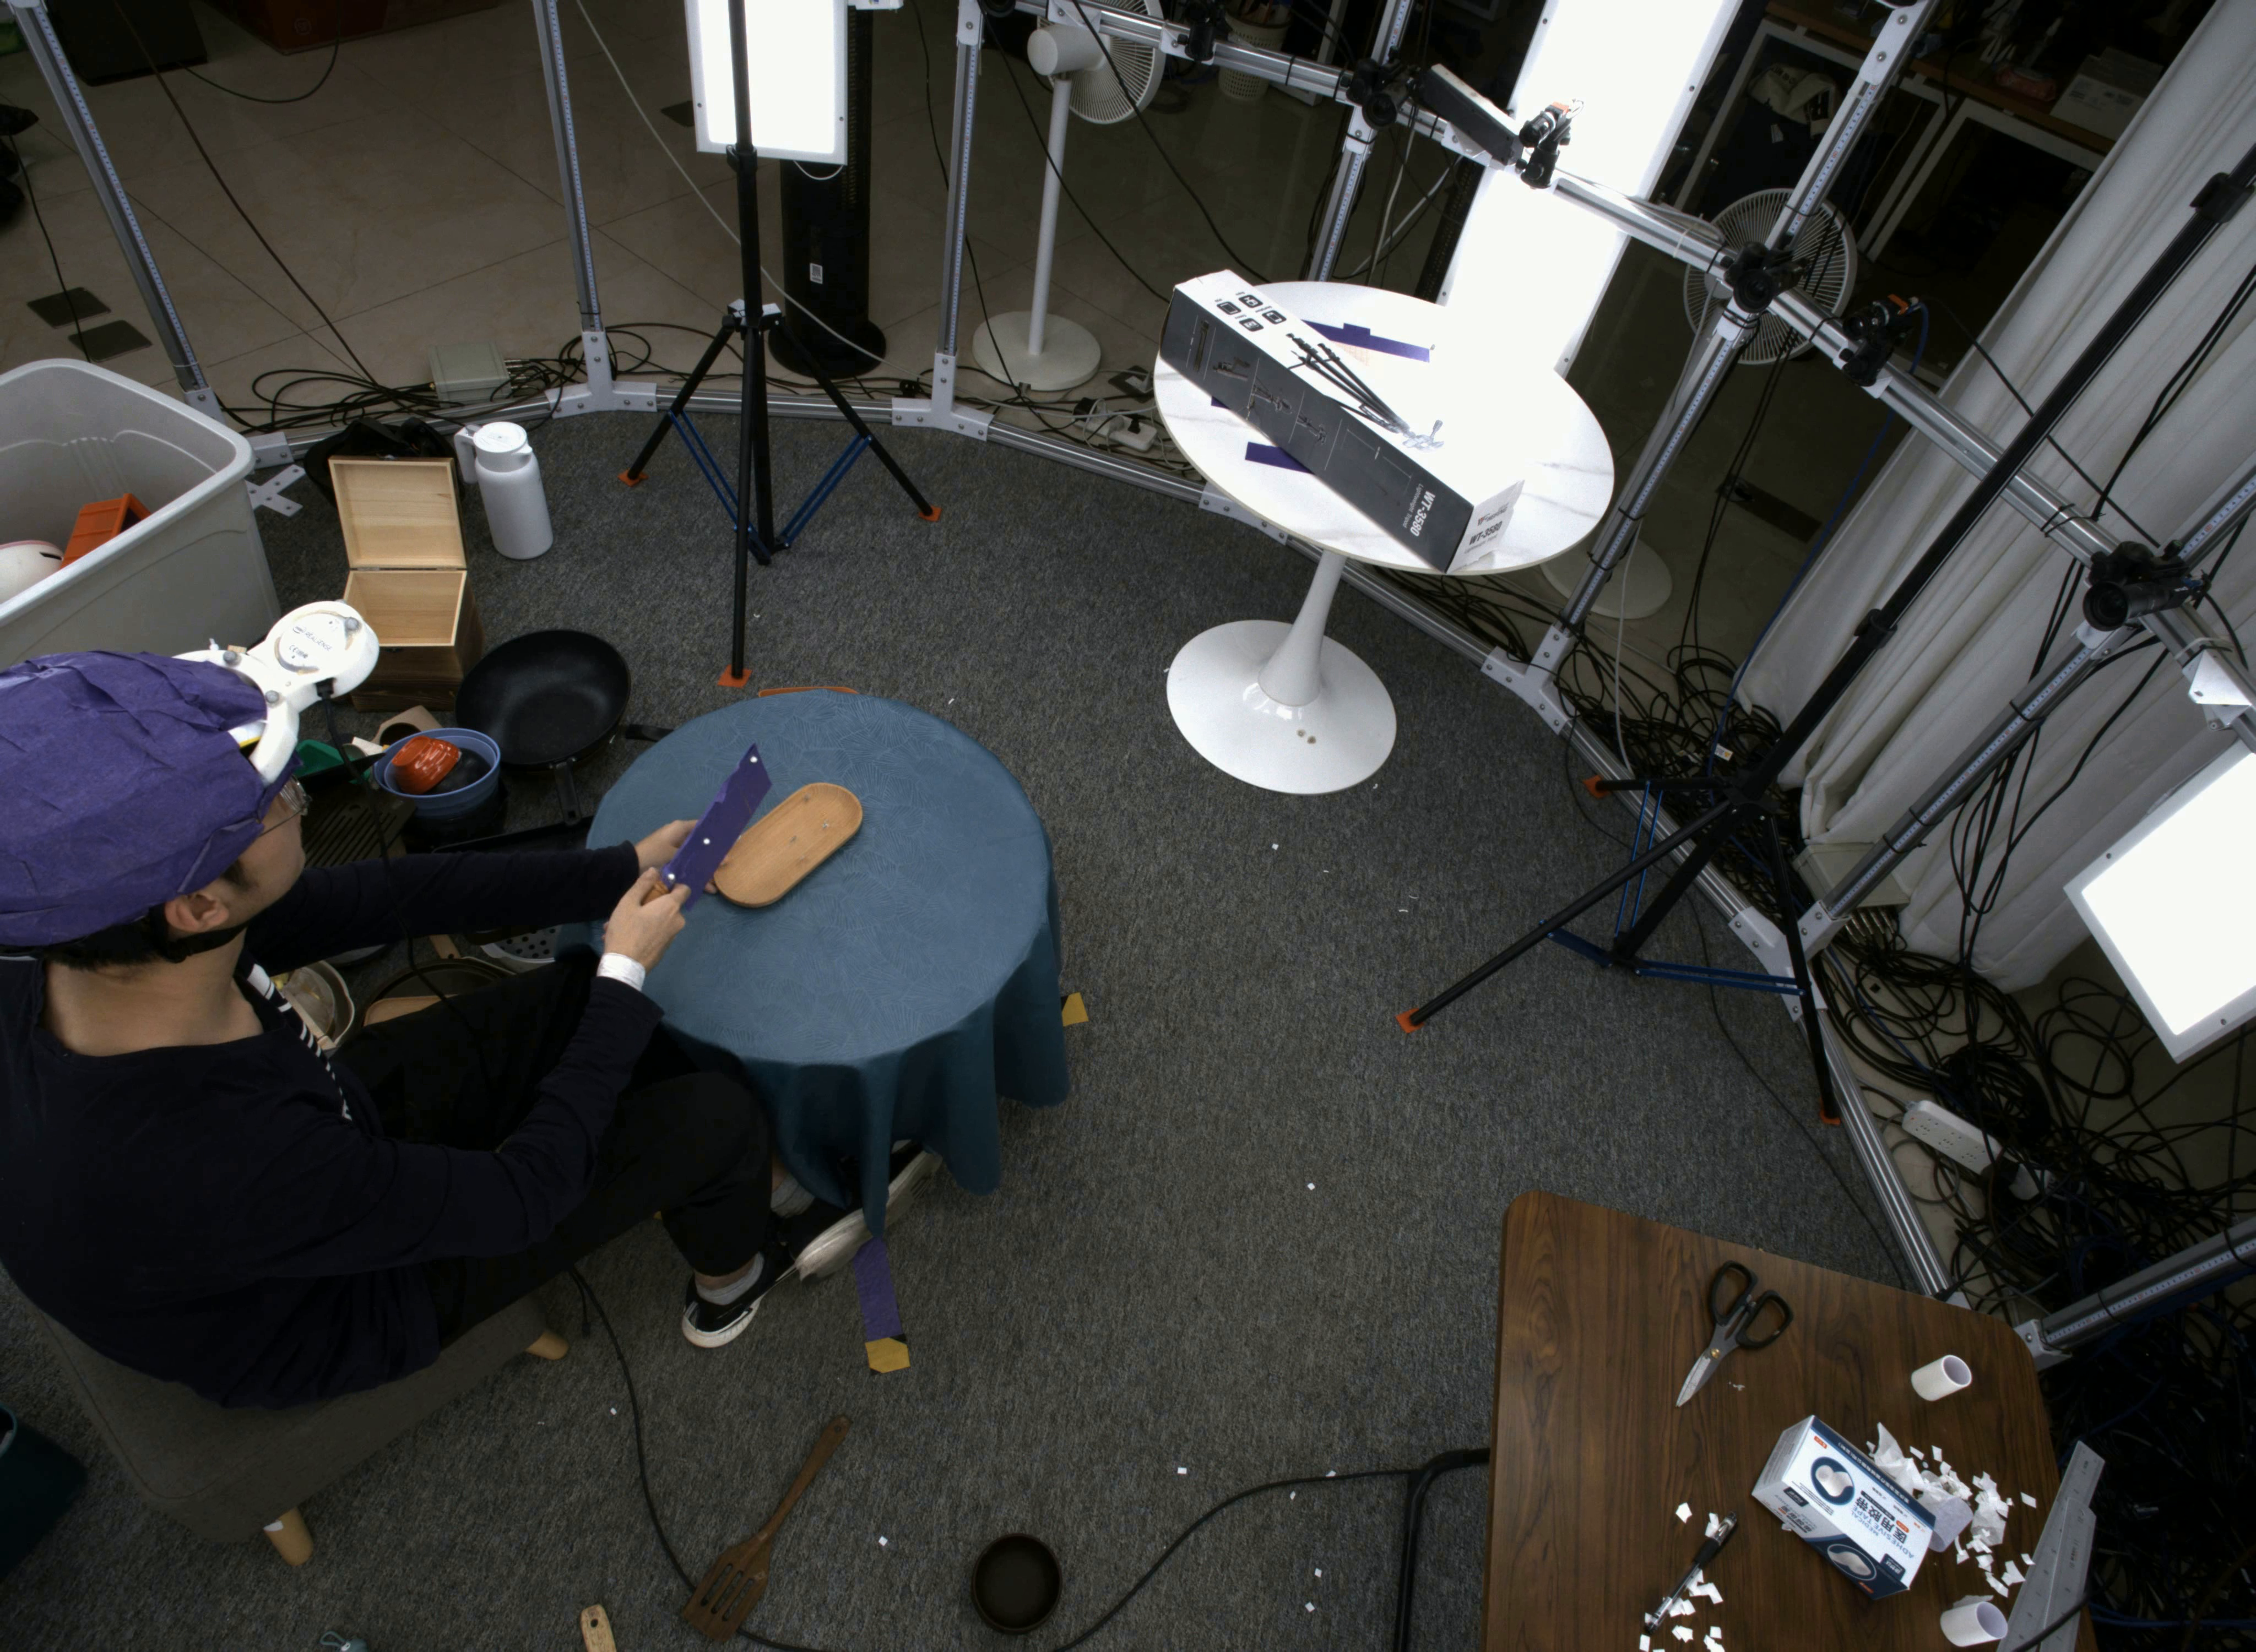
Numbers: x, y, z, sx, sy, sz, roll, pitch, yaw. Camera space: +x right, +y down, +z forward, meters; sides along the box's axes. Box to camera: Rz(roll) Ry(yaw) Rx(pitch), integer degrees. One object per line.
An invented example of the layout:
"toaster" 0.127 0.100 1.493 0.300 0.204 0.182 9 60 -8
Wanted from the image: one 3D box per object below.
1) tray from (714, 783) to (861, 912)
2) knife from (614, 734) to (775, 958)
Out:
"tray" -0.443 0.025 1.698 0.100 0.021 0.231 34 54 10
"knife" -0.506 0.036 1.538 0.031 0.107 0.313 16 57 16
